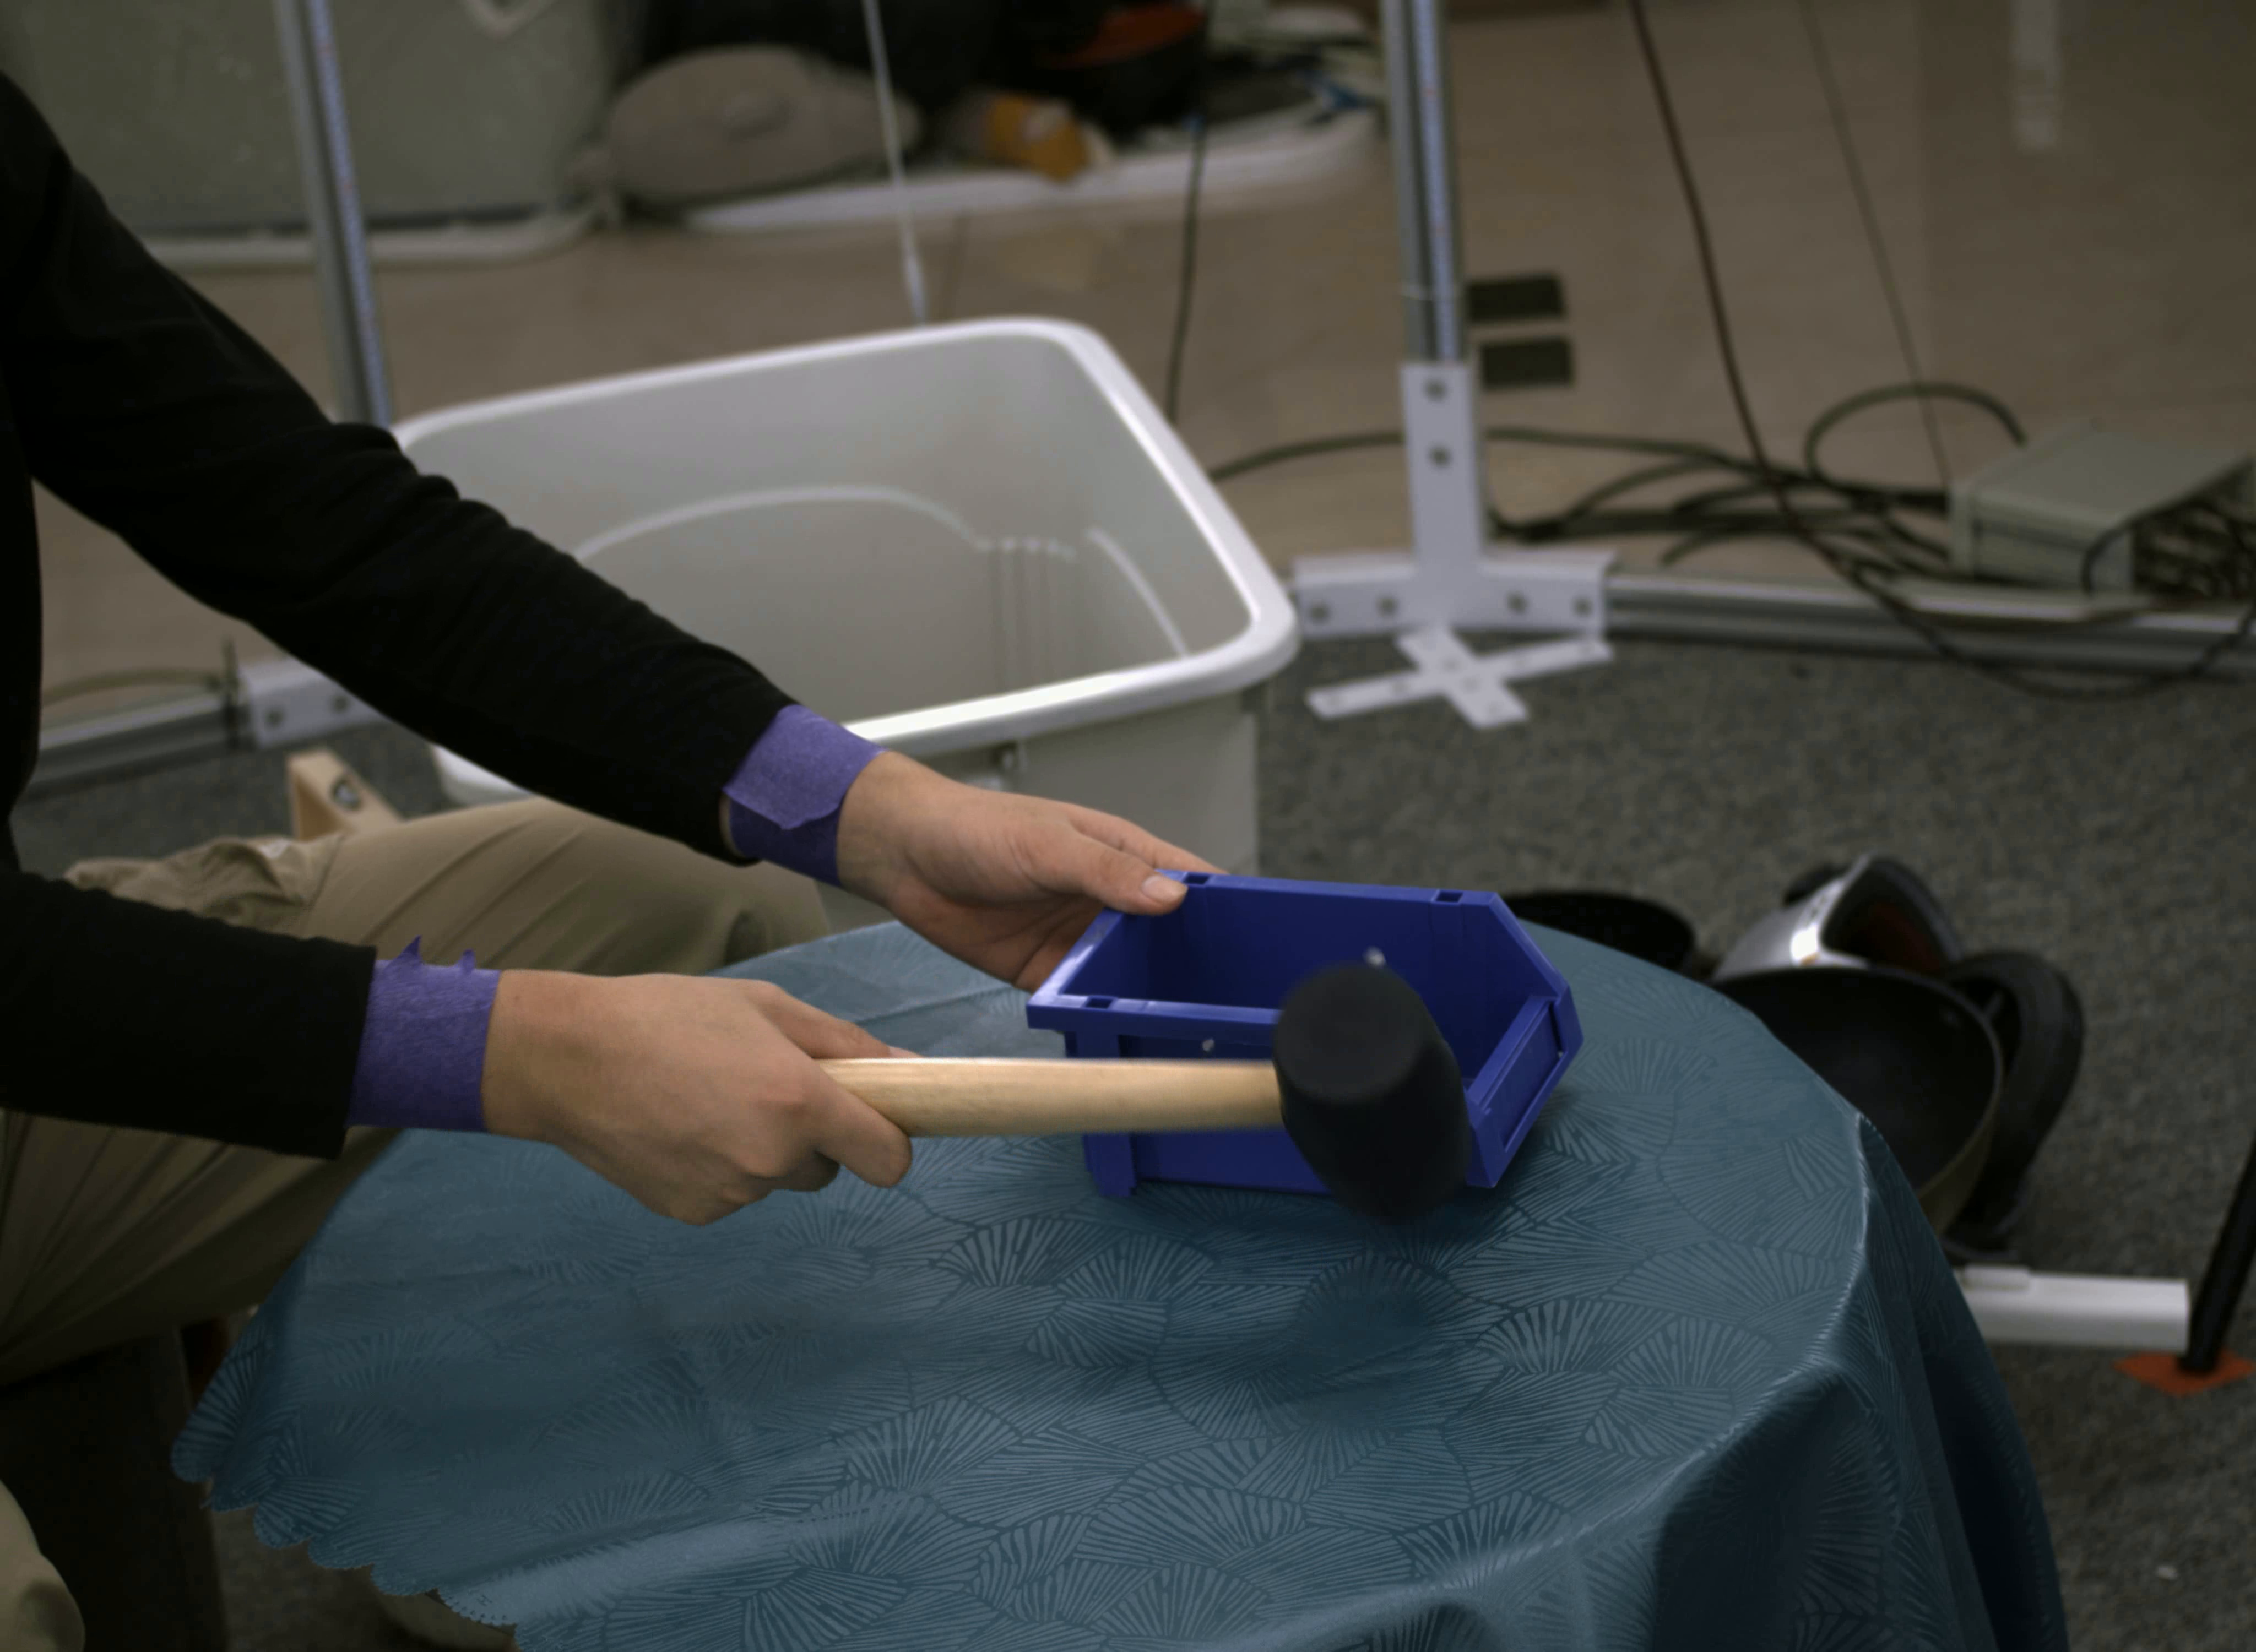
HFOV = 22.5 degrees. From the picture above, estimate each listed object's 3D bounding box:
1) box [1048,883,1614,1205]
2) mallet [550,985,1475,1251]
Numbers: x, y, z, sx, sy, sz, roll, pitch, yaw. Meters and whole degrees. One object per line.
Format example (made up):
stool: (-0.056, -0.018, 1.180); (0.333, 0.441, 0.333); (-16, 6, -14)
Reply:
box: (0.080, 0.082, 2.154); (0.179, 0.083, 0.123); (0, 25, 24)
mallet: (-0.043, 0.095, 2.046); (0.338, 0.103, 0.063); (4, 58, 16)
